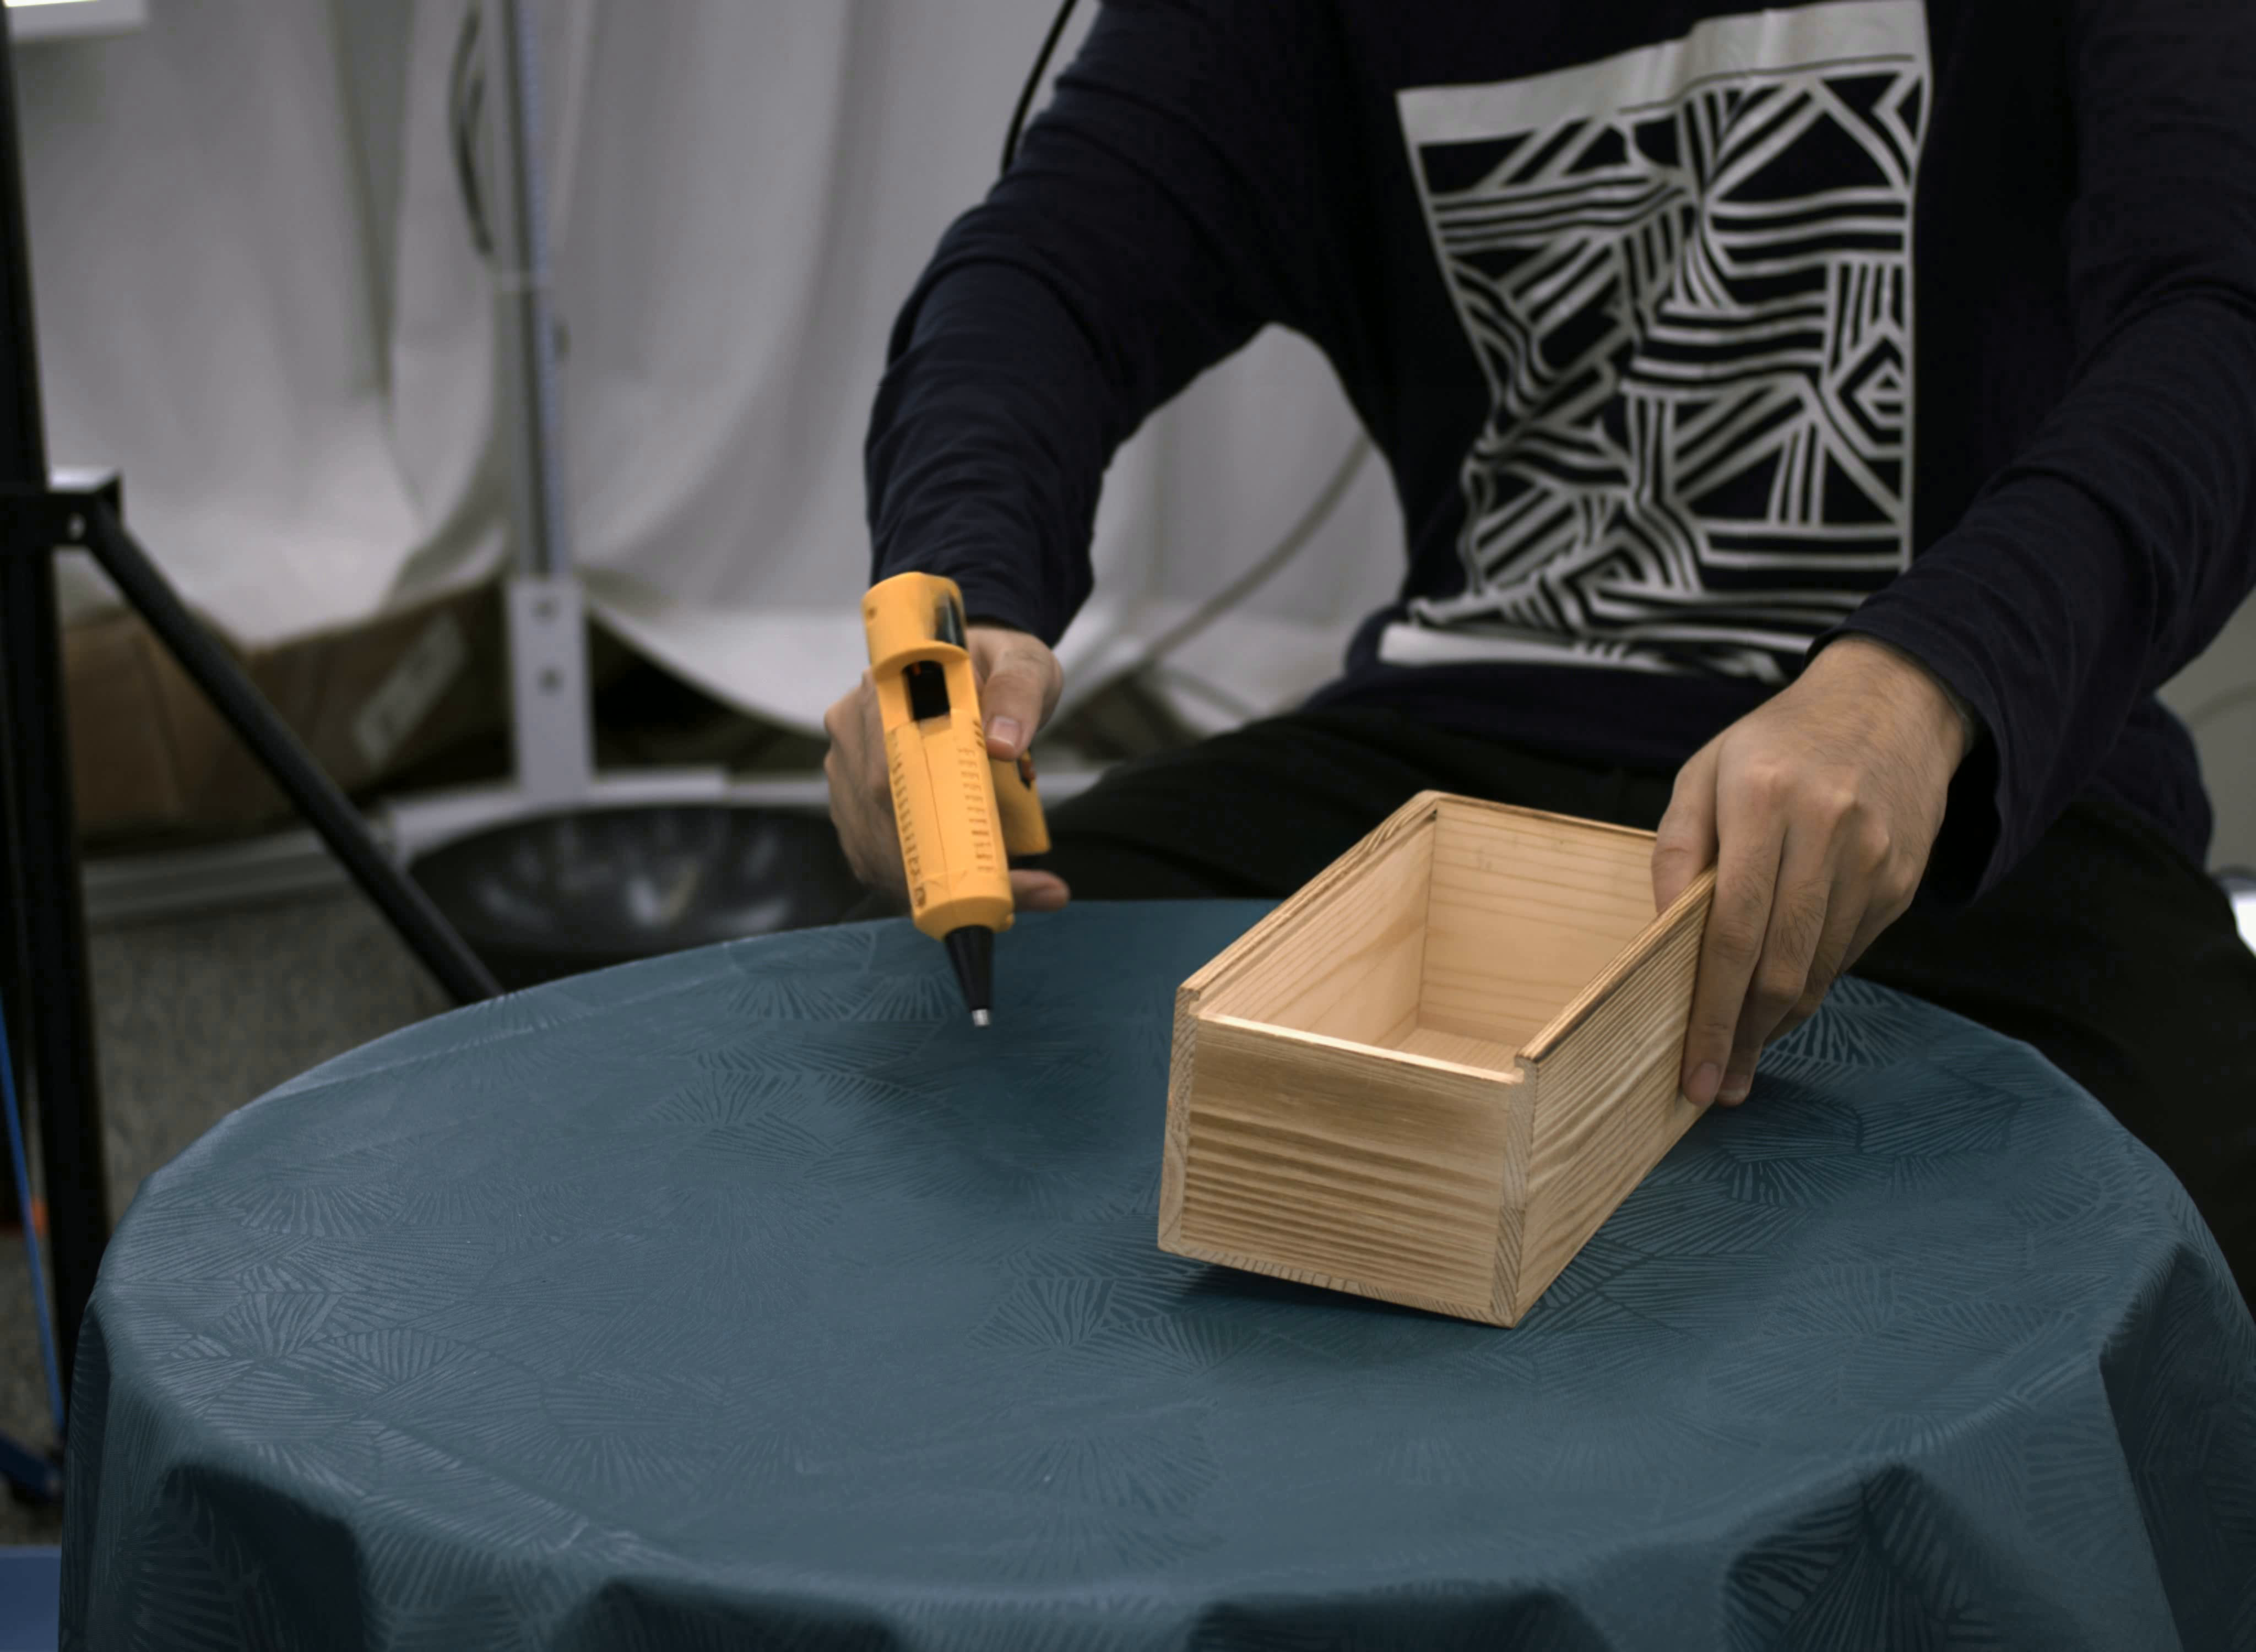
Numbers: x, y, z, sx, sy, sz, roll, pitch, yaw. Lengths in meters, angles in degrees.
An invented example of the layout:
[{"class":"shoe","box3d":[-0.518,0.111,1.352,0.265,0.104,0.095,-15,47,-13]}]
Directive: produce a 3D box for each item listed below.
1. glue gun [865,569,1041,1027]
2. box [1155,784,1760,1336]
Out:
[{"class":"glue gun","box3d":[-0.045,0.013,1.648,0.031,0.131,0.153,-14,58,7]},{"class":"box","box3d":[0.099,0.063,1.532,0.109,0.080,0.208,12,20,20]}]
